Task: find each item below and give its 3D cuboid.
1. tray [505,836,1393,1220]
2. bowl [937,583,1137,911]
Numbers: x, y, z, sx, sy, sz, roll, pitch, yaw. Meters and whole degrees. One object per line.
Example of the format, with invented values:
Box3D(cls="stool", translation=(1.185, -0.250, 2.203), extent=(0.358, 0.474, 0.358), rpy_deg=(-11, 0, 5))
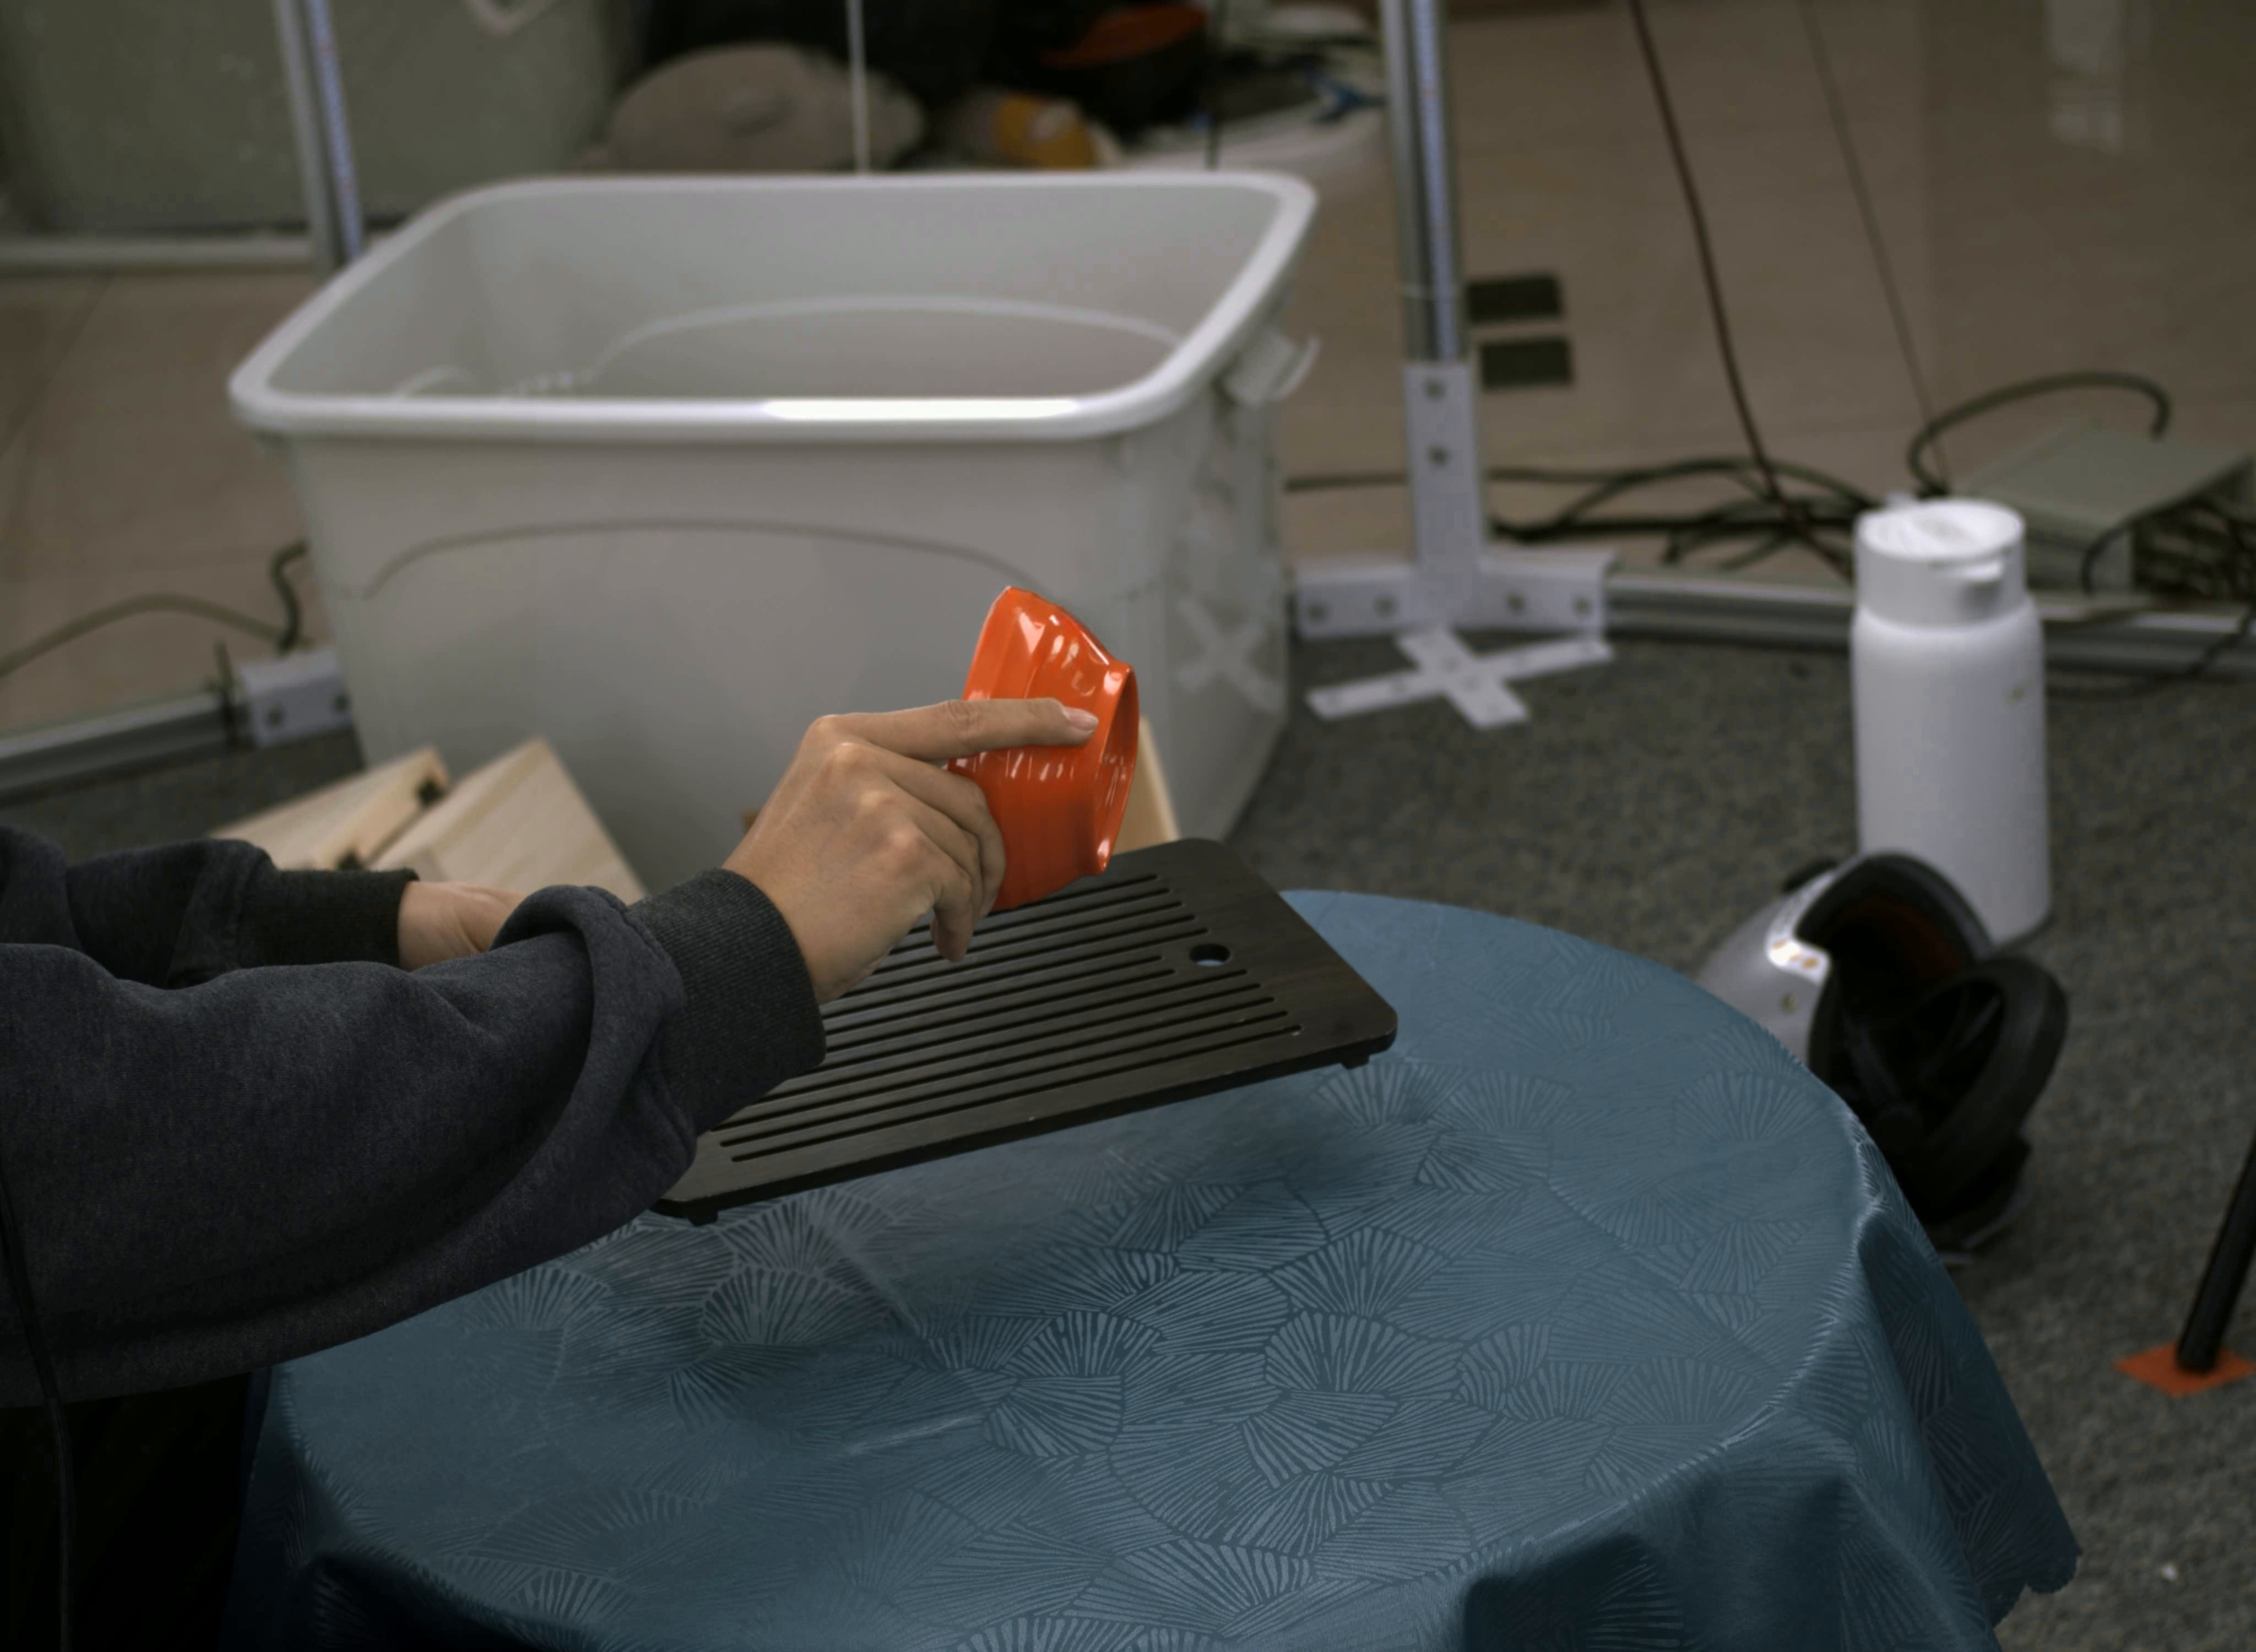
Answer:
Box3D(cls="tray", translation=(-0.068, 0.075, 2.141), extent=(0.305, 0.019, 0.168), rpy_deg=(-13, 32, -22))
Box3D(cls="bowl", translation=(-0.030, -0.024, 2.013), extent=(0.051, 0.121, 0.117), rpy_deg=(12, 28, 9))
